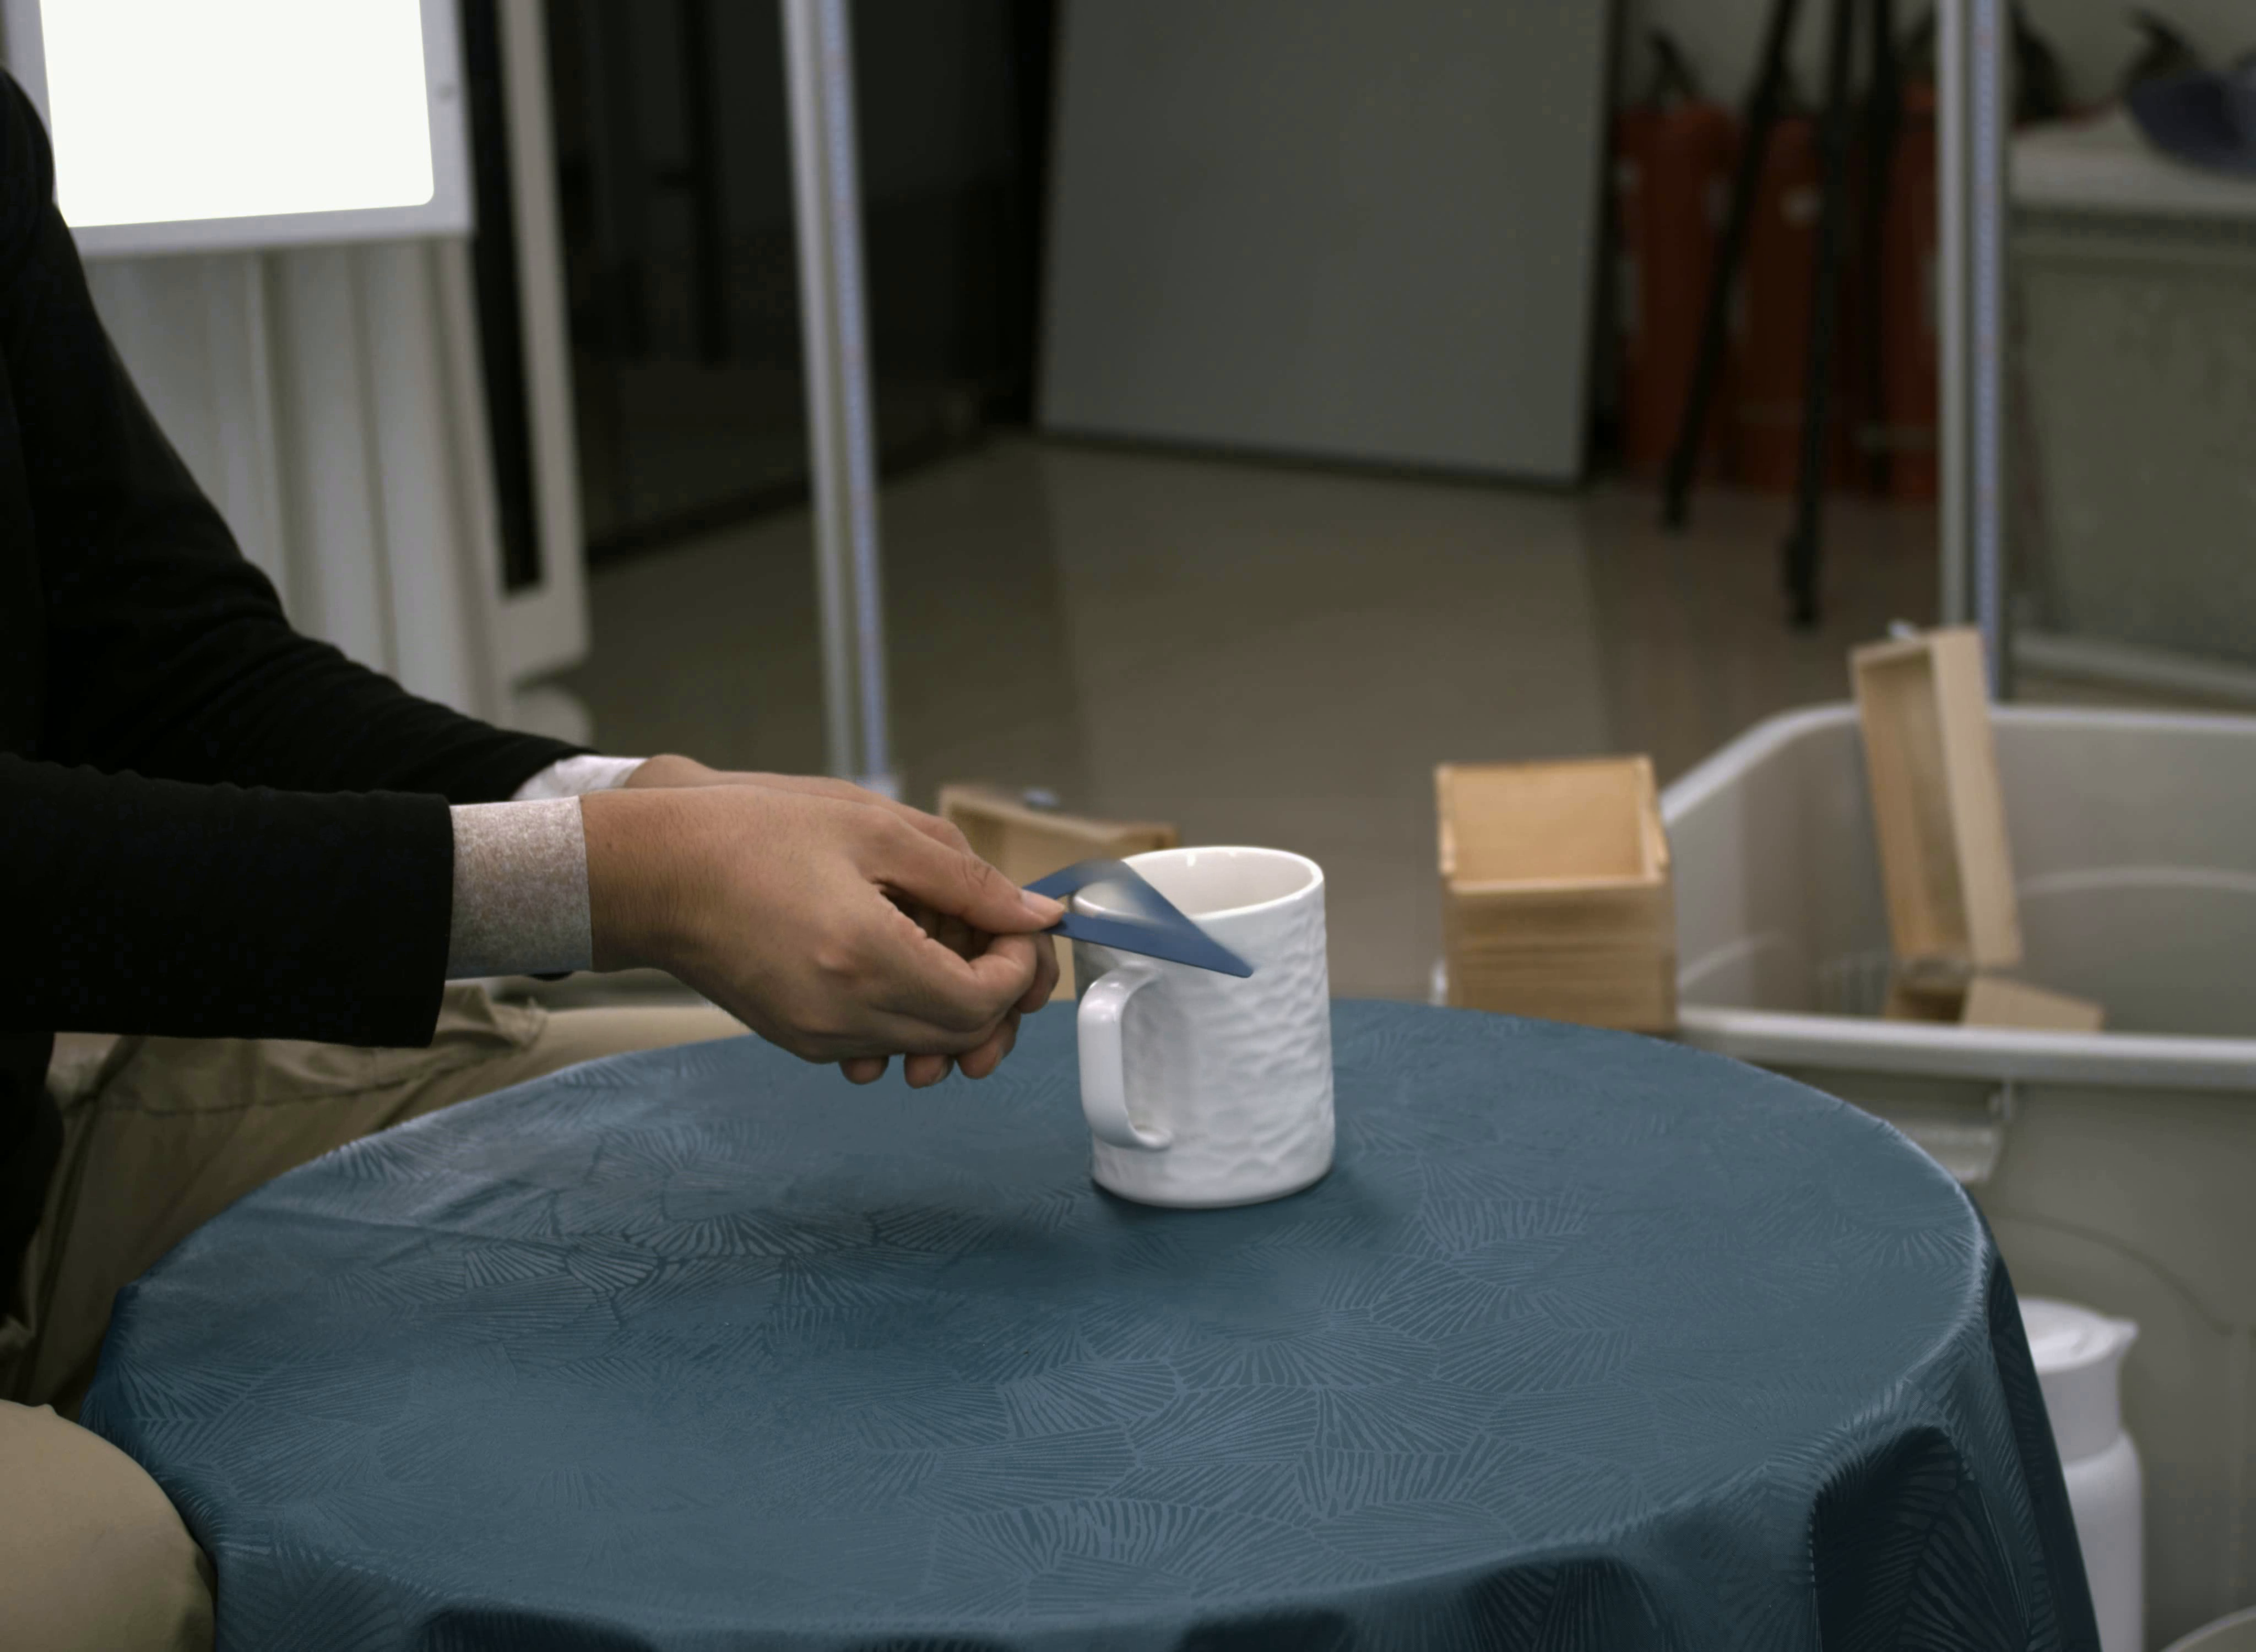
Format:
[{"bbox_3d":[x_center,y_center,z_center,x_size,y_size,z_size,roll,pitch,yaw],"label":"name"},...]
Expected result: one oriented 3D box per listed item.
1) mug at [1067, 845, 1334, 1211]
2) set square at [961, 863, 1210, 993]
[{"bbox_3d":[0.018,0.070,1.758,0.085,0.103,0.116,4,15,28],"label":"mug"},{"bbox_3d":[-0.016,0.033,1.702,0.060,0.006,0.133,-7,18,-12],"label":"set square"}]
